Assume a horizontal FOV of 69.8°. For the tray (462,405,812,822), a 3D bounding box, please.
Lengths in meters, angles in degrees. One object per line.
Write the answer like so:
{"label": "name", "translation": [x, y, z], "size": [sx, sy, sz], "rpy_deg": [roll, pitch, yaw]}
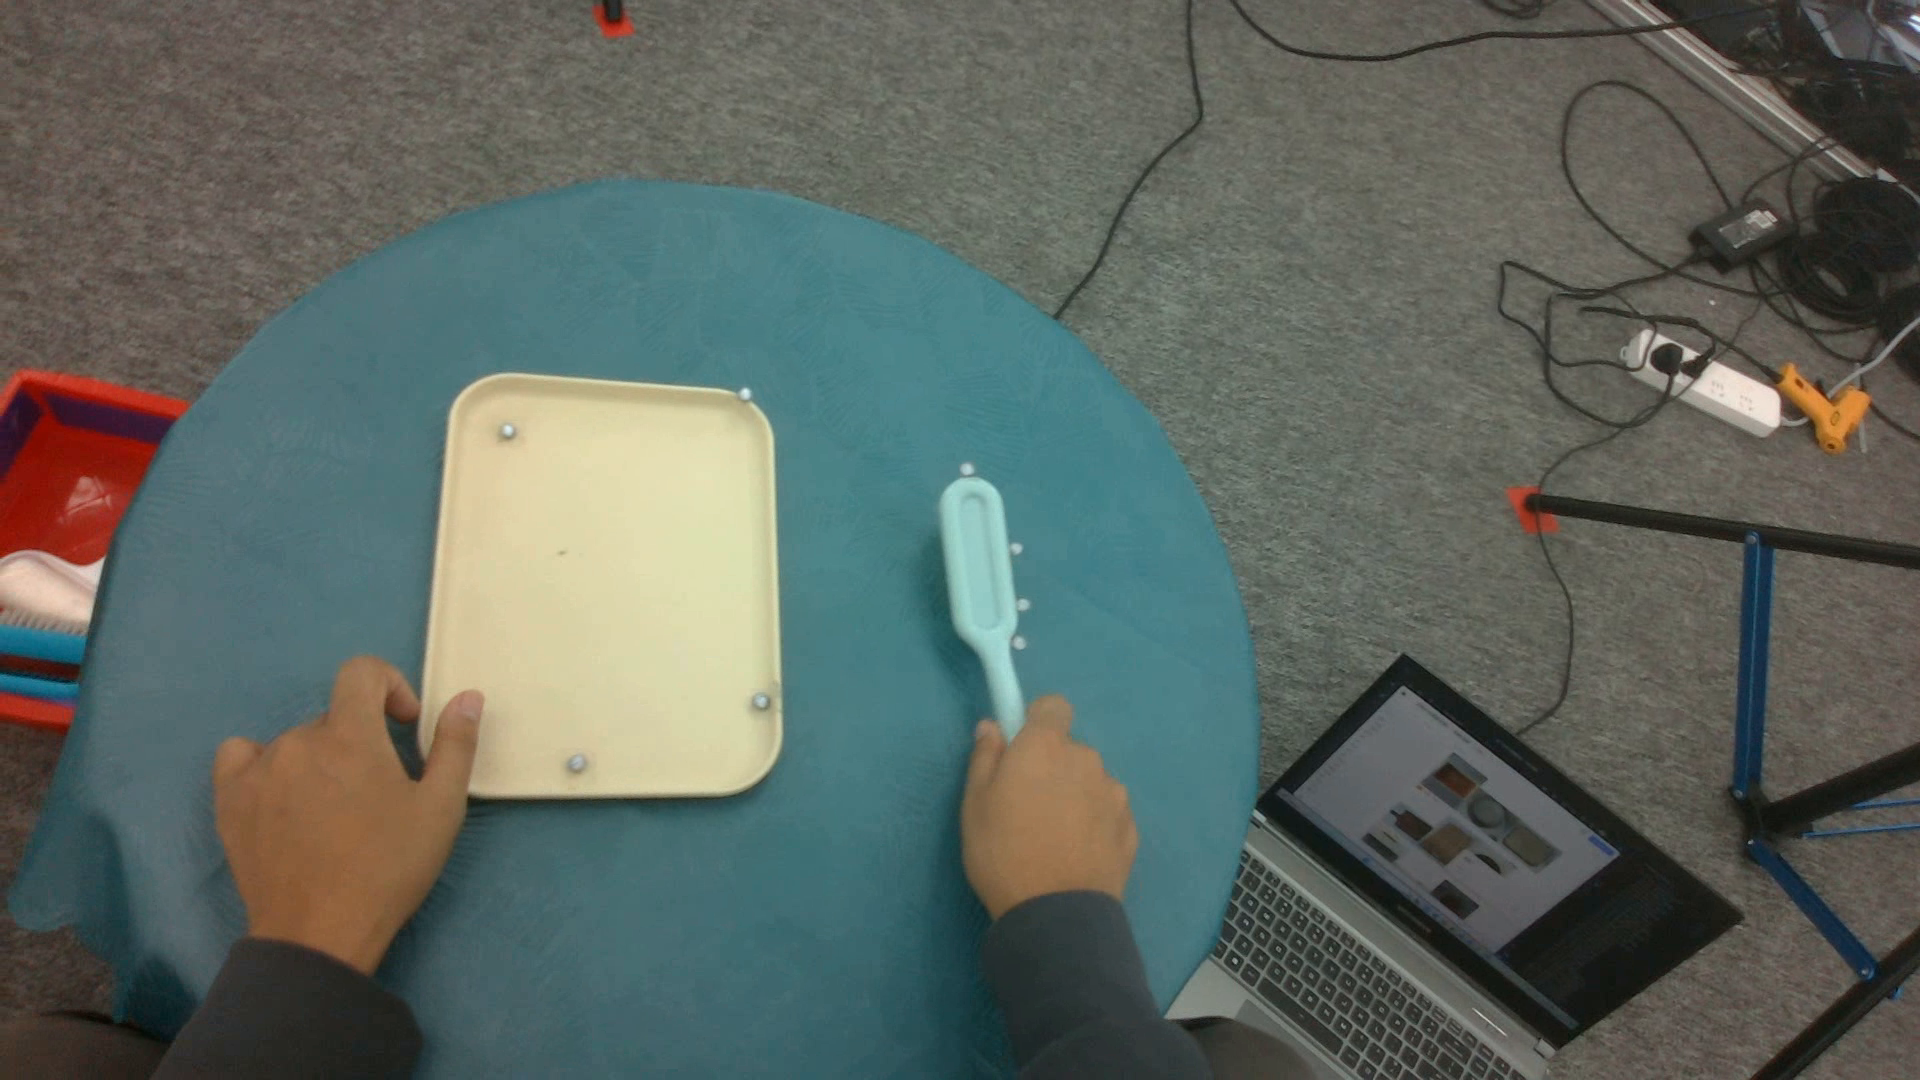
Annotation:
{"label": "tray", "translation": [-0.170, 0.032, 0.731], "size": [0.171, 0.017, 0.240], "rpy_deg": [0, 61, -14]}

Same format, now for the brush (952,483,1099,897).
{"label": "brush", "translation": [0.035, 0.078, 0.742], "size": [0.038, 0.049, 0.229], "rpy_deg": [-10, 66, -13]}
